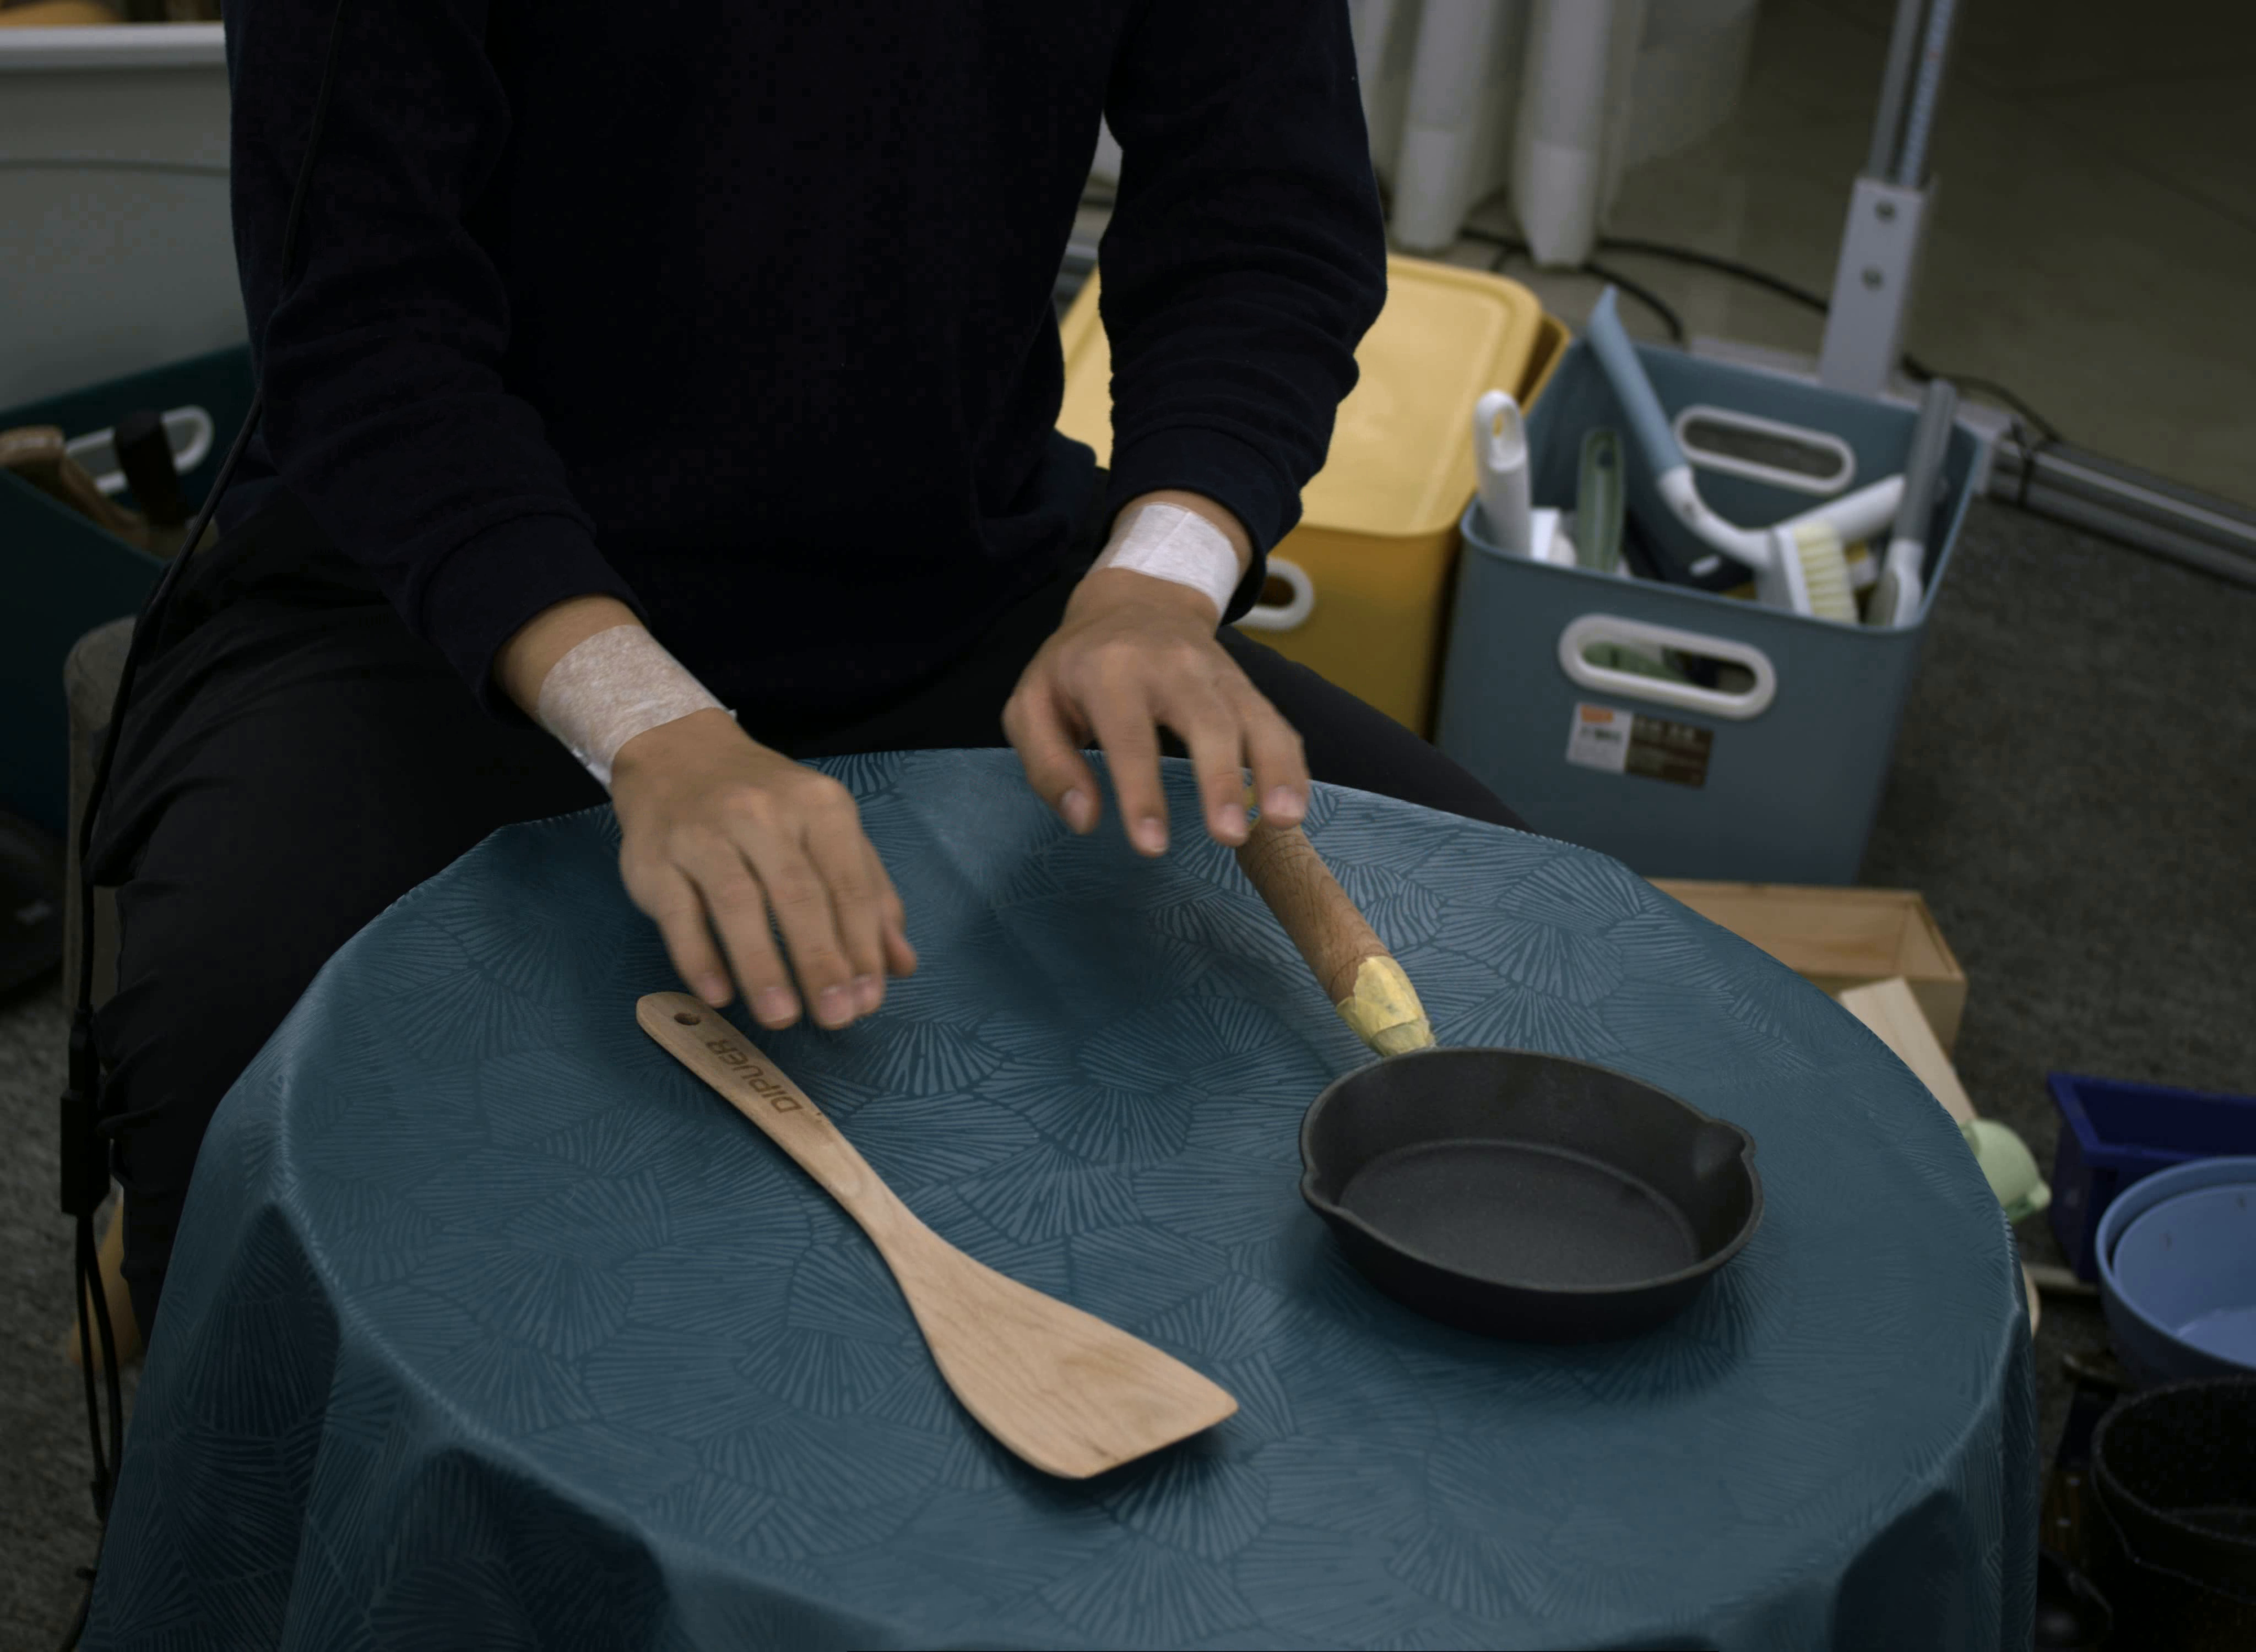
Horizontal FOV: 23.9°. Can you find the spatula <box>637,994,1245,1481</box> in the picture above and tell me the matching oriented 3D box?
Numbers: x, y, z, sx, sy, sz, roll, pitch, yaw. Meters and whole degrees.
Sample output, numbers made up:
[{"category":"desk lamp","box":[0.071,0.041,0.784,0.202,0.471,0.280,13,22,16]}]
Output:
[{"category":"spatula","box":[-0.076,0.129,1.757,0.079,0.016,0.330,-11,32,-32]}]

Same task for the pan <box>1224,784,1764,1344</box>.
[{"category":"pan","box":[0.104,0.080,1.855,0.168,0.049,0.327,-5,31,-21]}]
